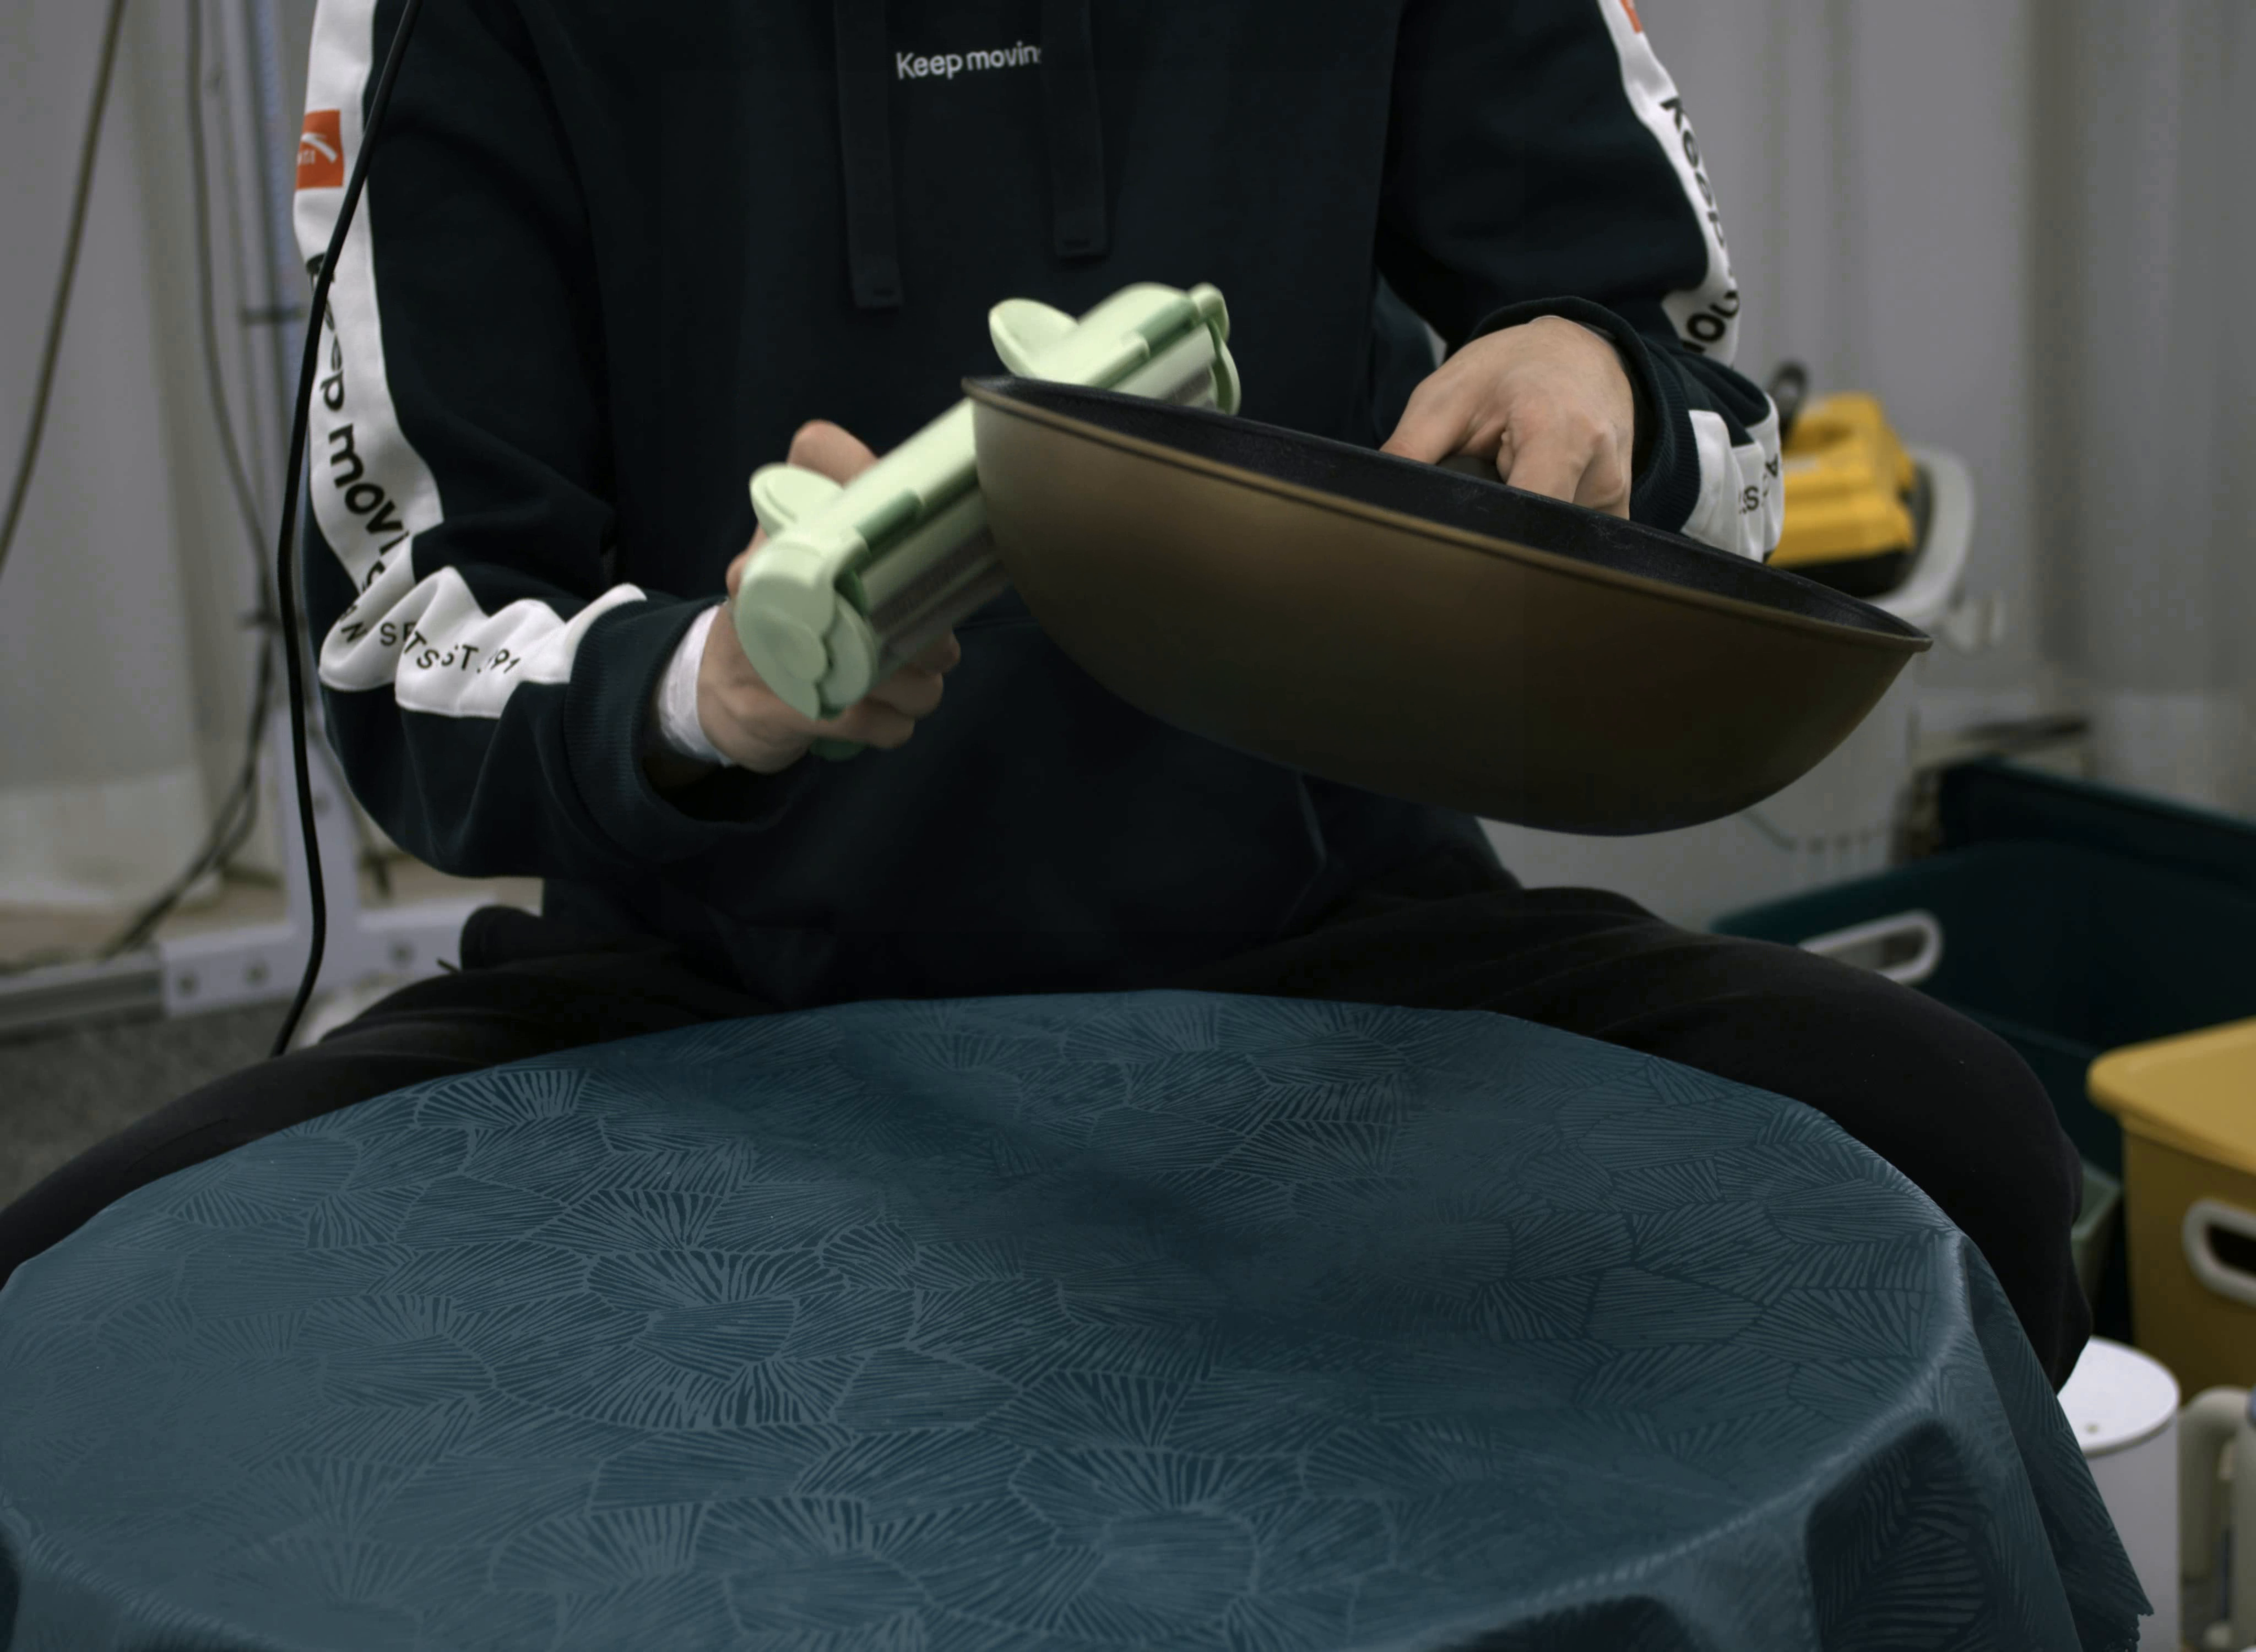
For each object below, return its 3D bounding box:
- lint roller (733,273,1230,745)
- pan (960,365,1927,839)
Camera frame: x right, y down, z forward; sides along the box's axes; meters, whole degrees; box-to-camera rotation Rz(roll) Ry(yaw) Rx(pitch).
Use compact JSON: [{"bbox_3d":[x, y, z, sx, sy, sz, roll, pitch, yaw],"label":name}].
[{"bbox_3d":[-0.075,-0.090,1.706,0.199,0.082,0.182,-40,3,-40],"label":"lint roller"},{"bbox_3d":[0.088,-0.067,1.658,0.287,0.087,0.464,16,7,4],"label":"pan"}]
